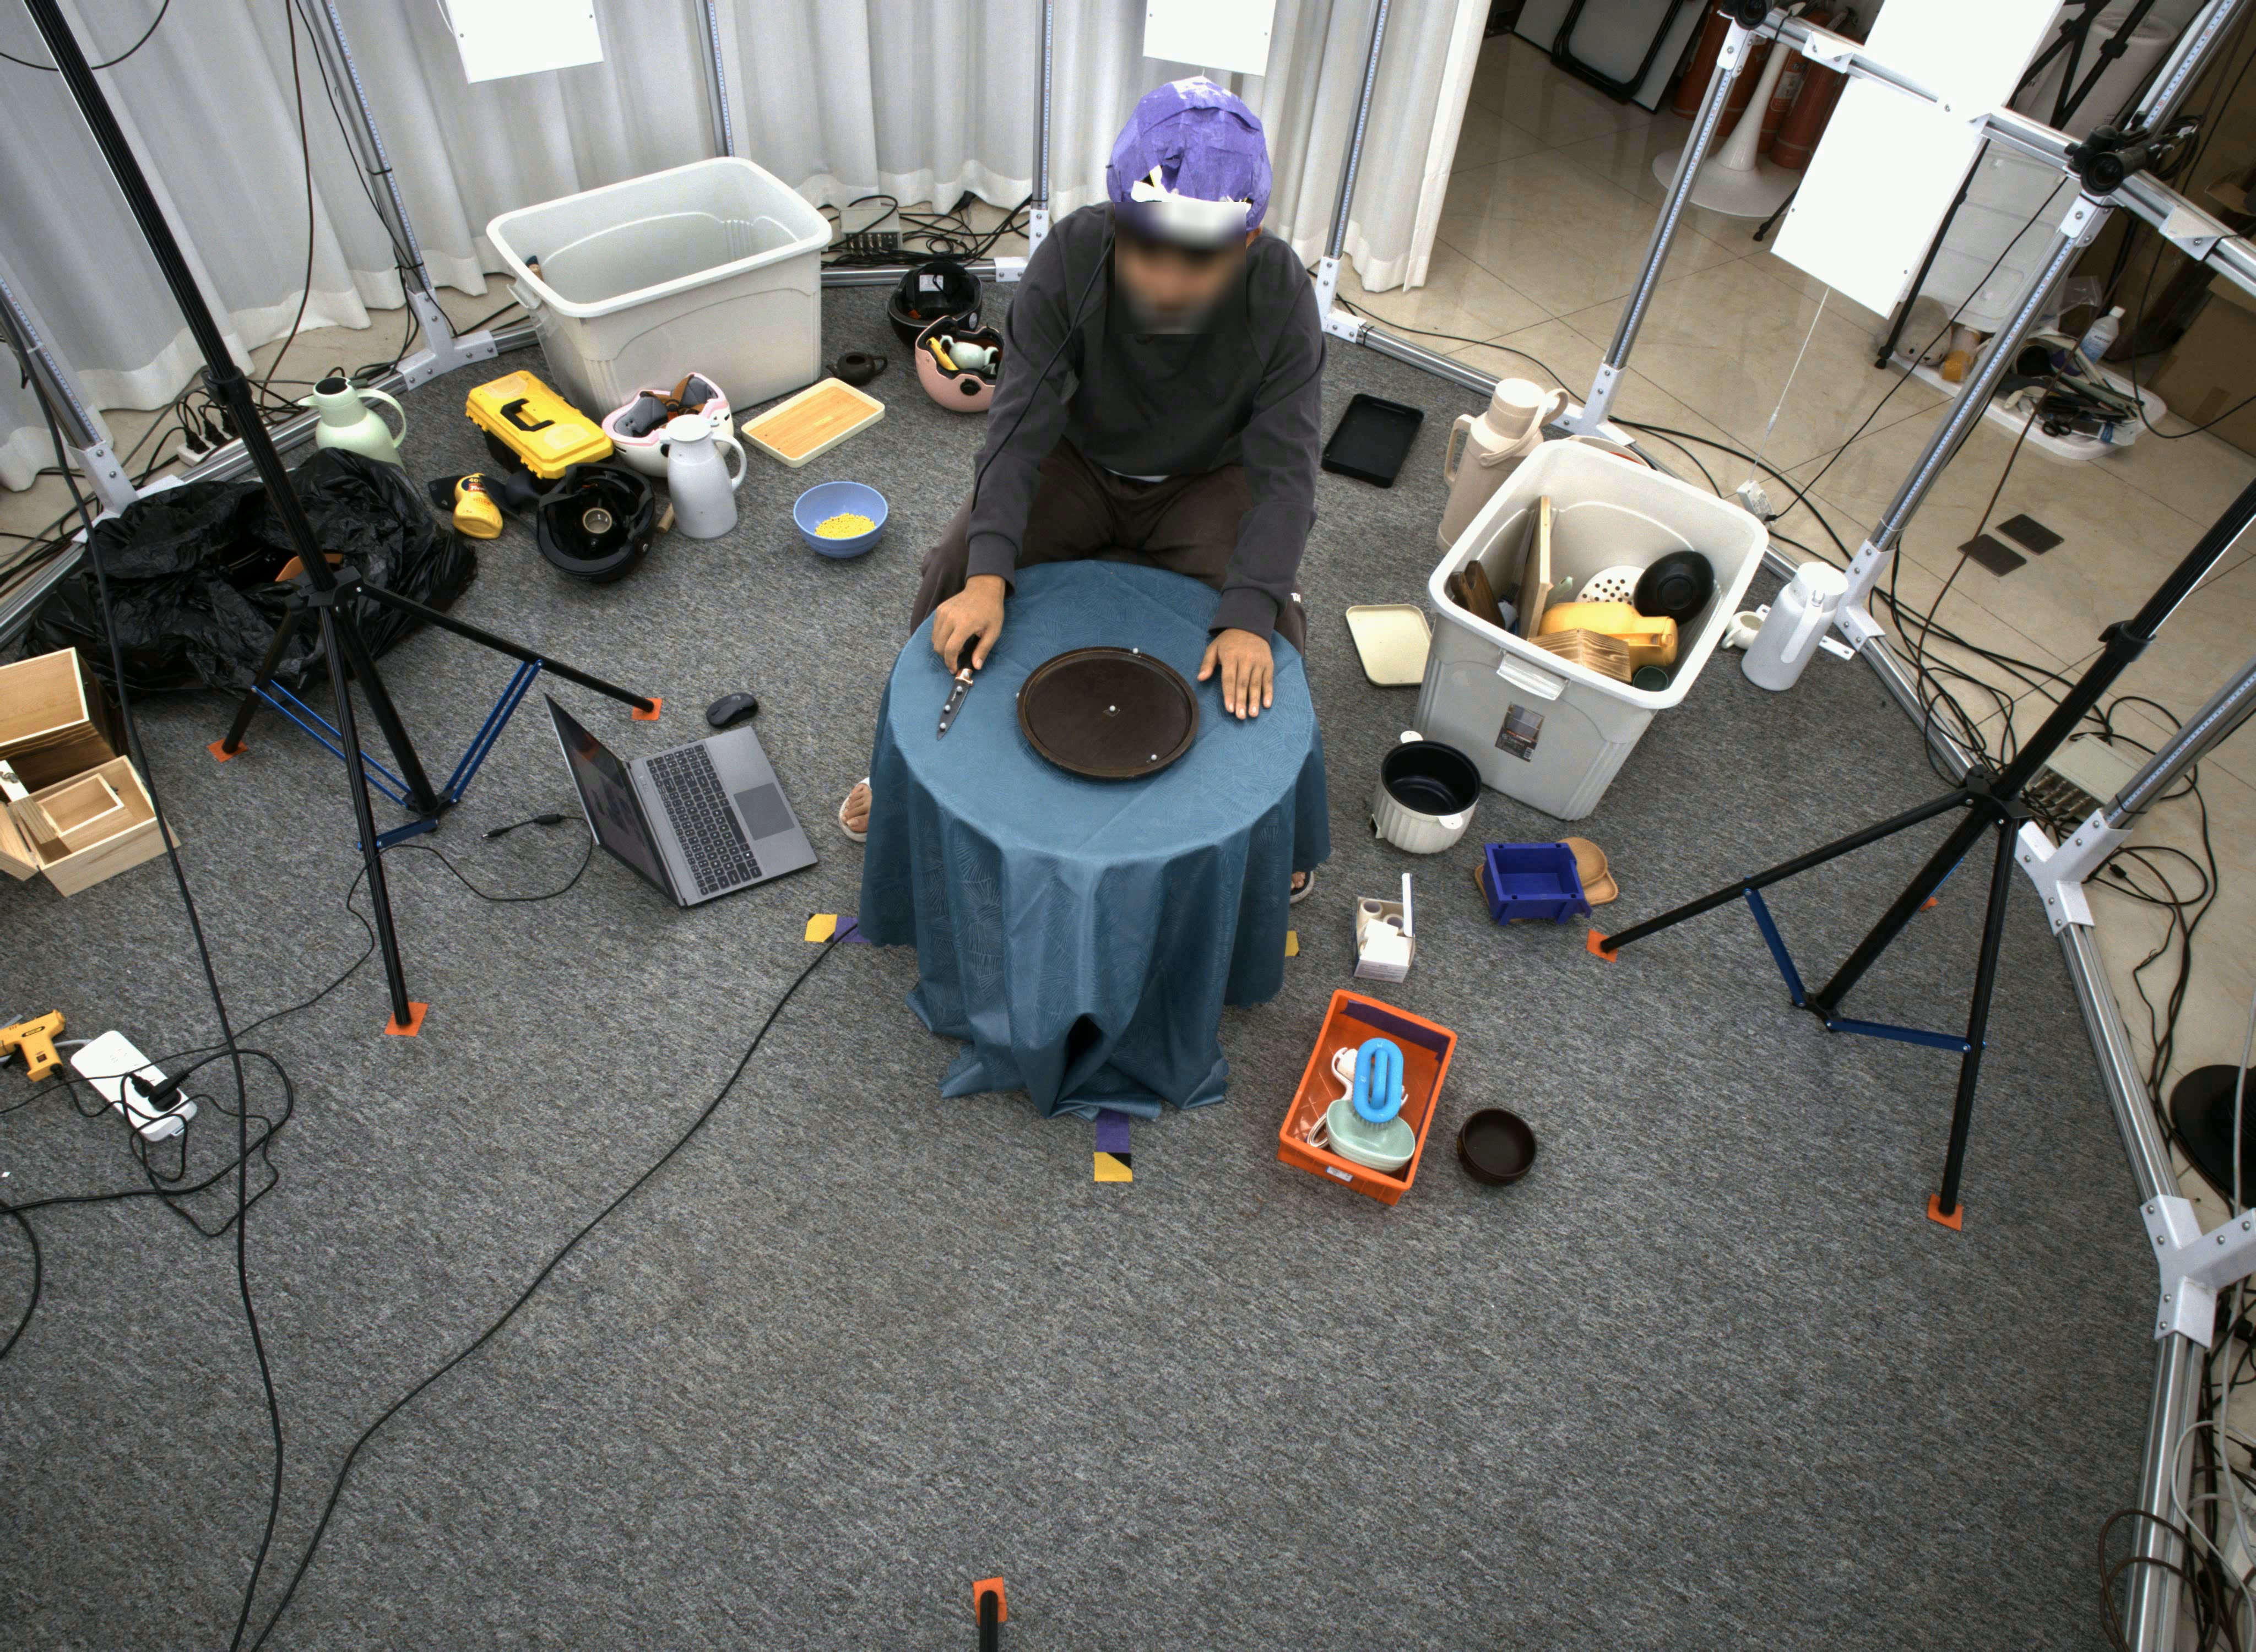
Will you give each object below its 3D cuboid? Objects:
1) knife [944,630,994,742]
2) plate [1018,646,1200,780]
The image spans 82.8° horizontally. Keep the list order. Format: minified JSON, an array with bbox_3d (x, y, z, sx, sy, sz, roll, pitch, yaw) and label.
[{"bbox_3d":[-0.228,-0.200,1.814,0.026,0.017,0.230,18,50,-2],"label":"knife"},{"bbox_3d":[-0.026,-0.158,1.786,0.254,0.028,0.261,2,48,-2],"label":"plate"}]
